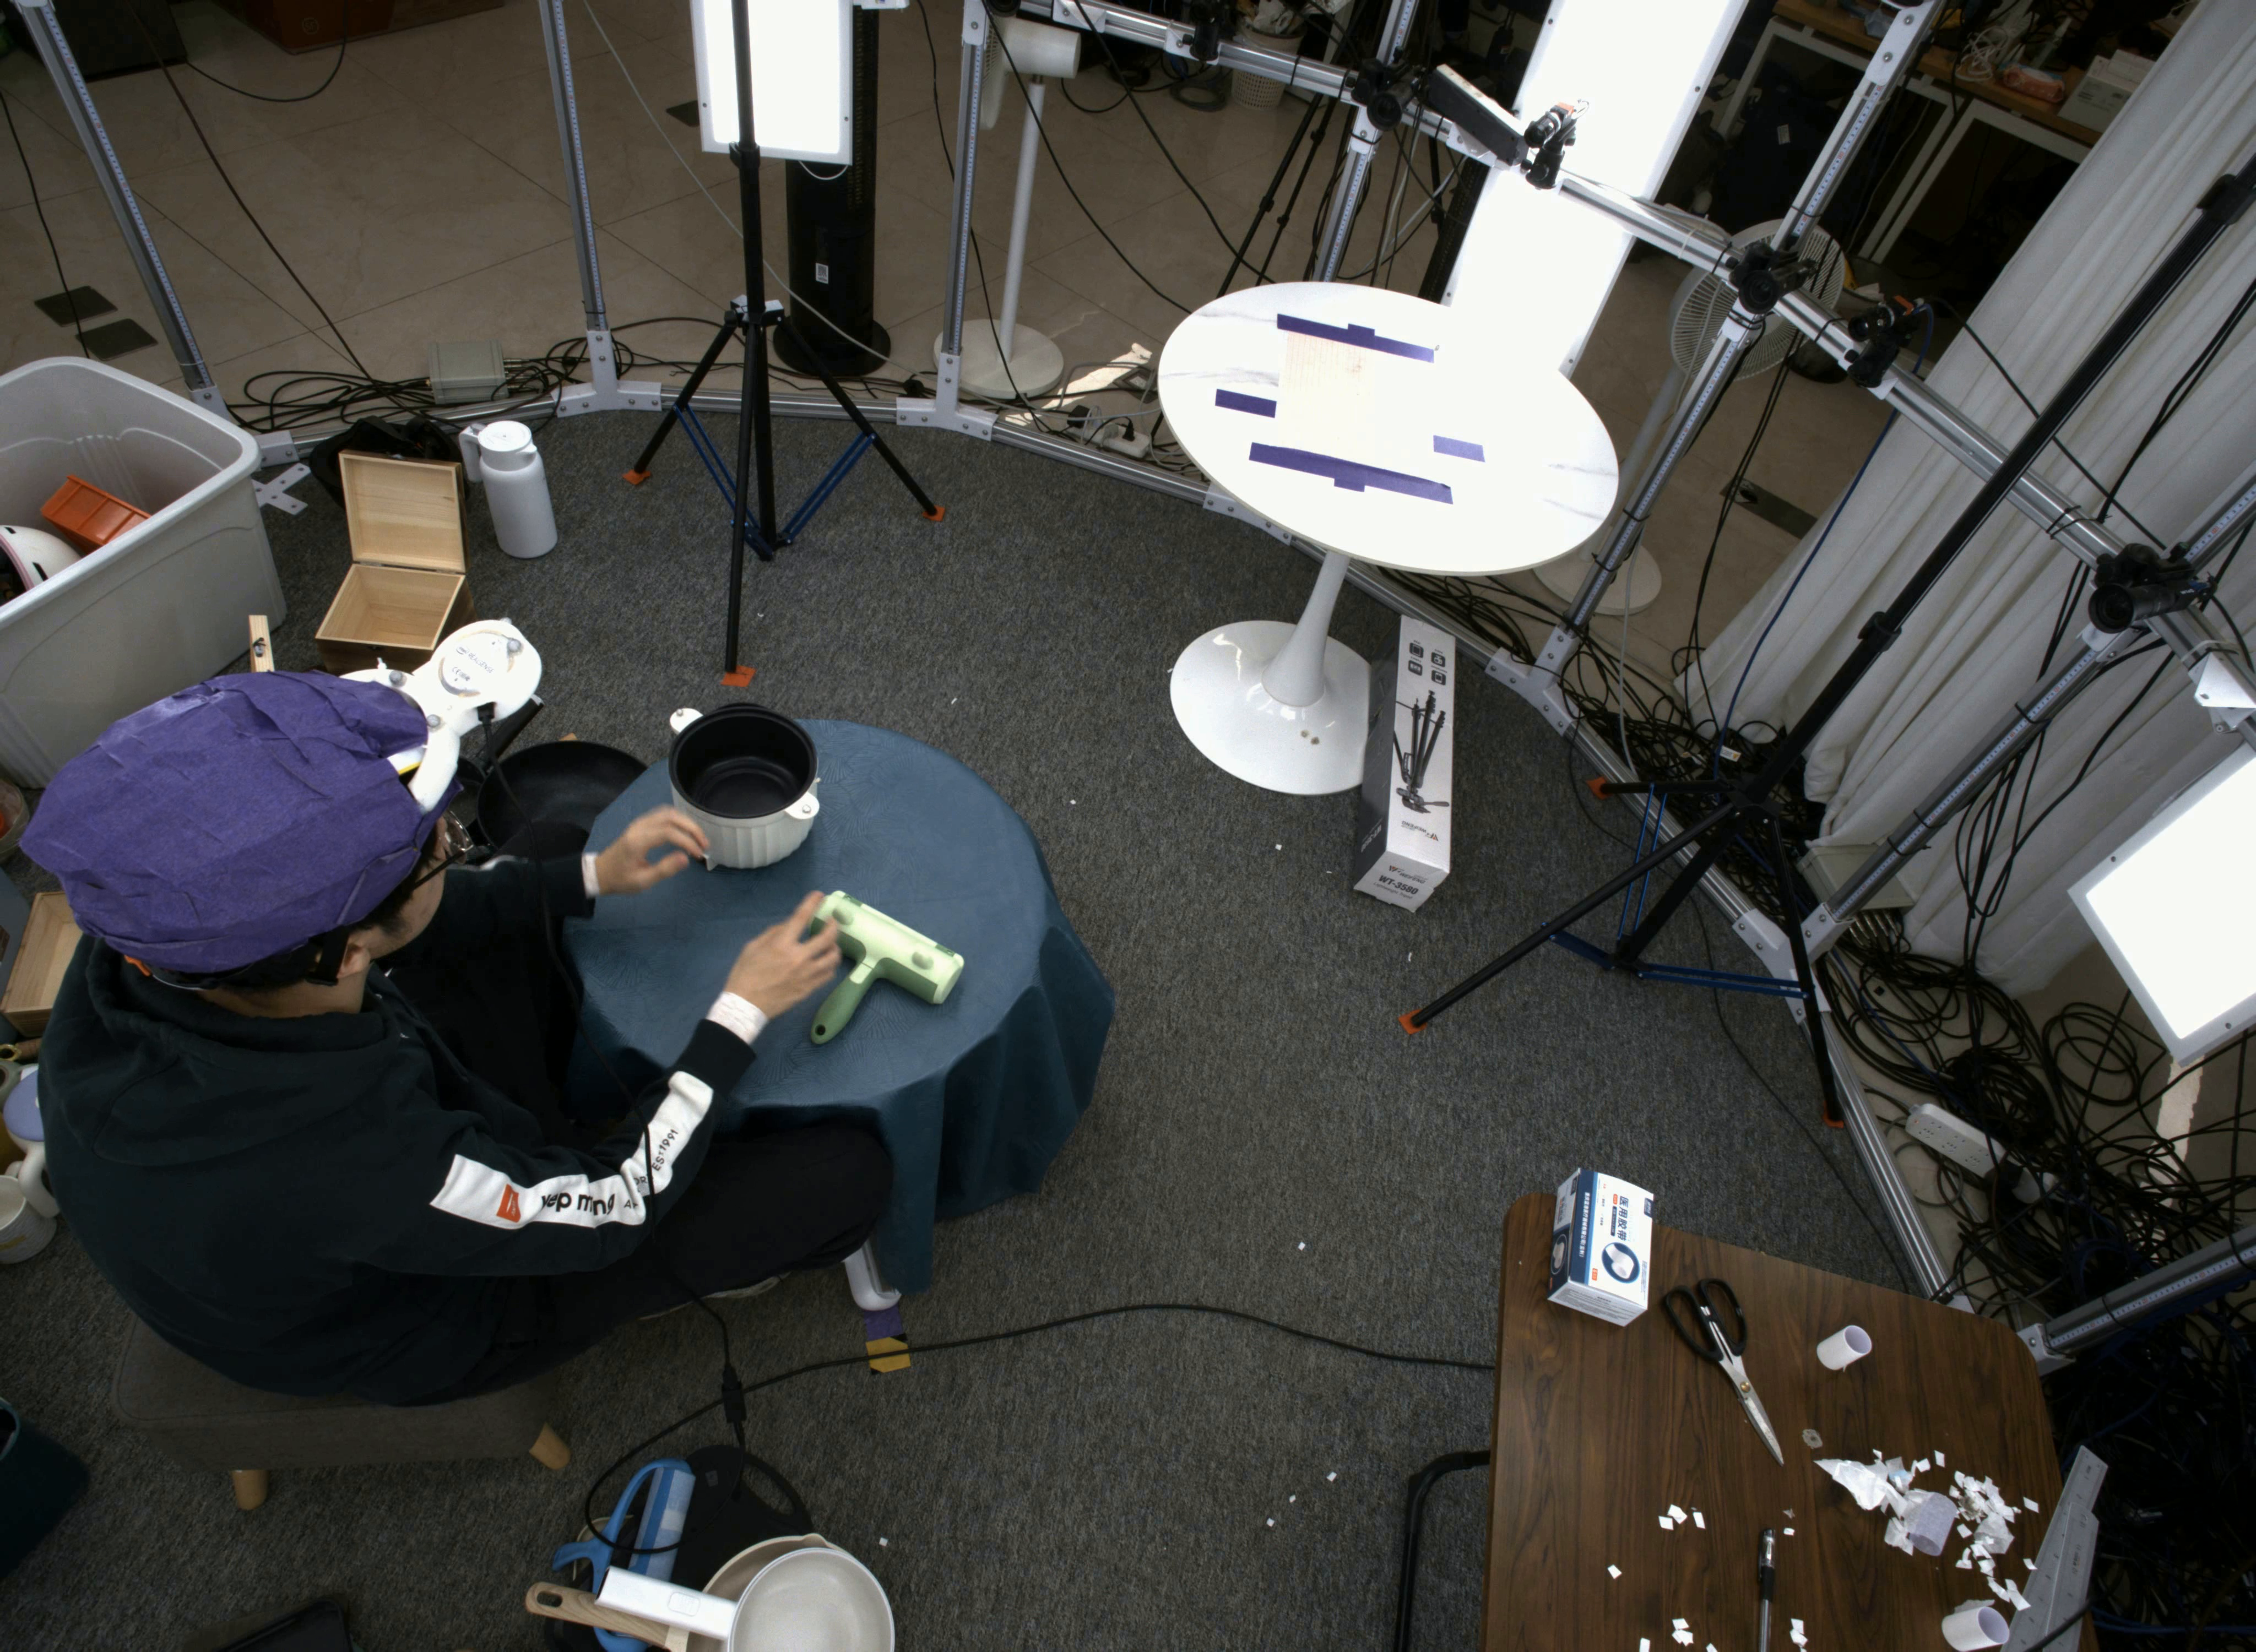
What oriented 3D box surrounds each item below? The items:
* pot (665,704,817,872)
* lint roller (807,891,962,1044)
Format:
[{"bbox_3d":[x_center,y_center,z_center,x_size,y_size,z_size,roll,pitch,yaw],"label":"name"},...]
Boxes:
[{"bbox_3d":[-0.490,-0.047,1.658,0.236,0.145,0.190,34,57,11],"label":"pot"},{"bbox_3d":[-0.327,0.178,1.576,0.196,0.084,0.182,28,47,7],"label":"lint roller"}]
